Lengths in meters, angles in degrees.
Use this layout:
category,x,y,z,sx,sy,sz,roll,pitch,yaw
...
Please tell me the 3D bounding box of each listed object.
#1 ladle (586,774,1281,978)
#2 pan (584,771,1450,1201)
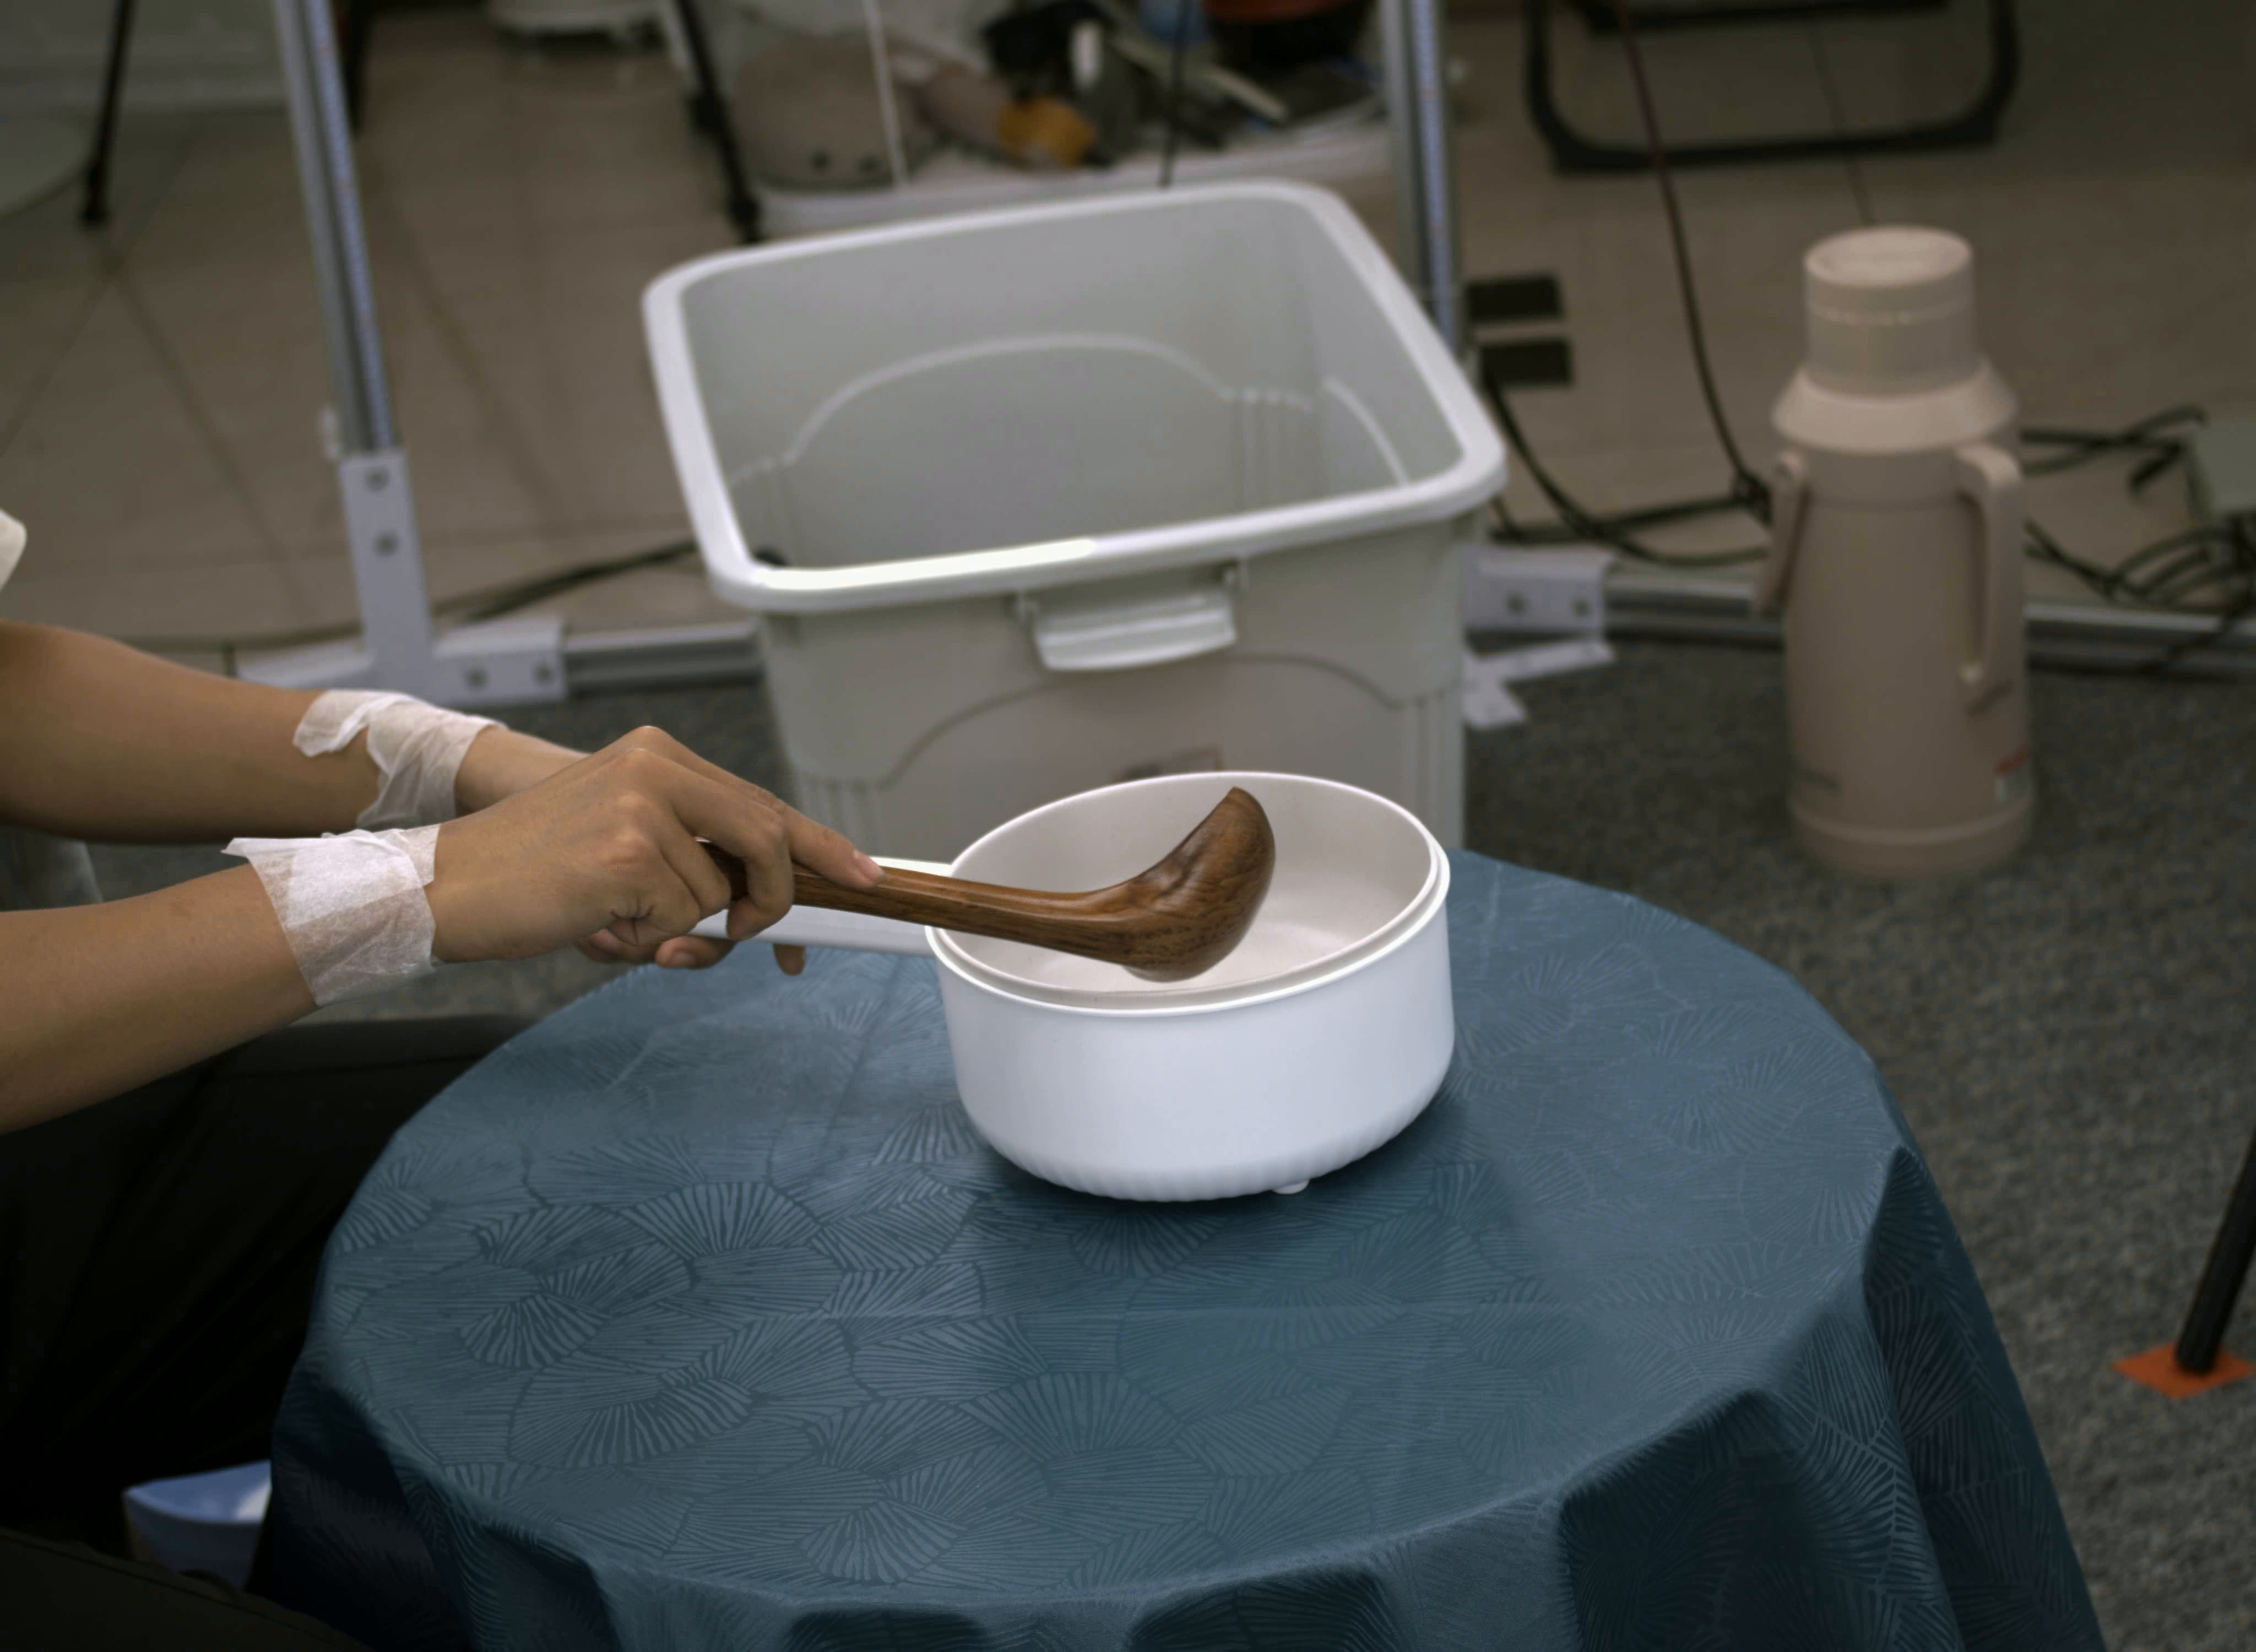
category,x,y,z,sx,sy,sz,roll,pitch,yaw
ladle,-0.069,0.009,2.065,0.274,0.083,0.075,7,32,-21
pan,-0.045,0.060,2.211,0.354,0.104,0.198,4,28,23
